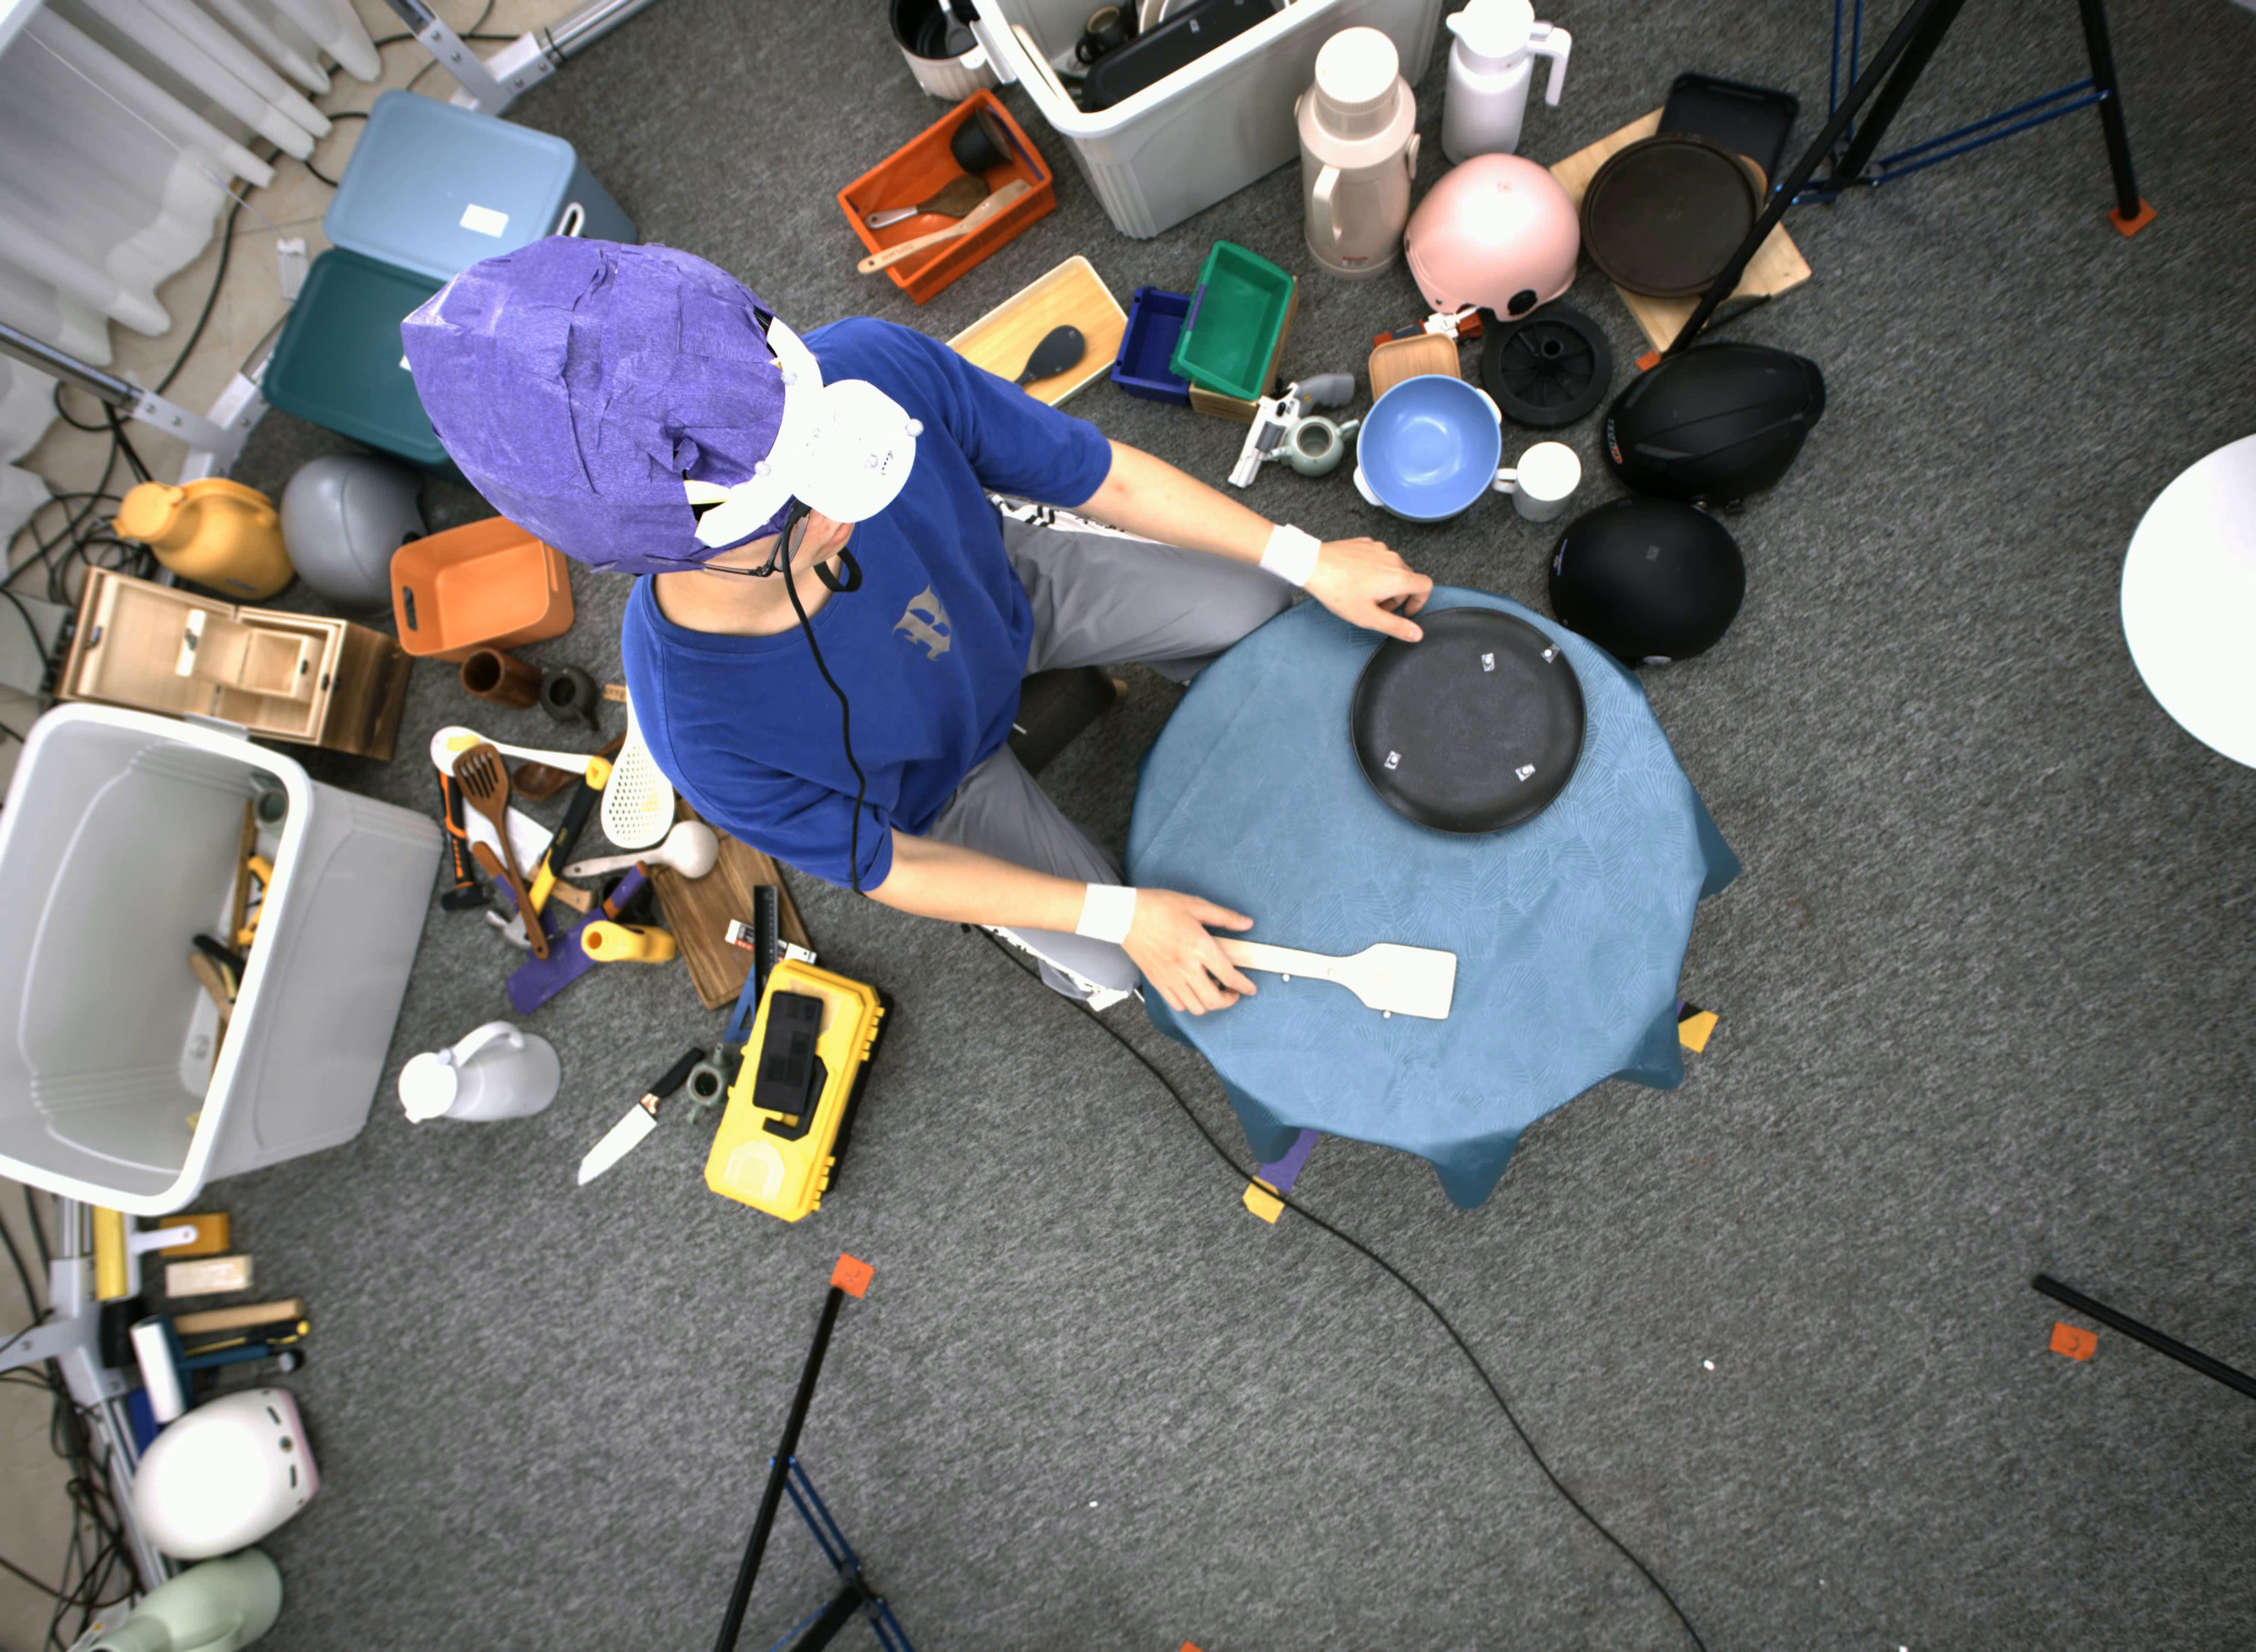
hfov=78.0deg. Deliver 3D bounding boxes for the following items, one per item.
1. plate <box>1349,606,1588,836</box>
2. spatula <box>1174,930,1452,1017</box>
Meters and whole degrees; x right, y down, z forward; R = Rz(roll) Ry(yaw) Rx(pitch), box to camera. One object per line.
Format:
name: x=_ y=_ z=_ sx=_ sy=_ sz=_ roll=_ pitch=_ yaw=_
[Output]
plate: x=0.356 y=-0.111 z=1.440 sx=0.245 sy=0.023 sz=0.243 roll=-1 pitch=87 yaw=11
spatula: x=0.192 y=0.145 z=1.464 sx=0.294 sy=0.010 sz=0.072 roll=8 pitch=90 yaw=11
